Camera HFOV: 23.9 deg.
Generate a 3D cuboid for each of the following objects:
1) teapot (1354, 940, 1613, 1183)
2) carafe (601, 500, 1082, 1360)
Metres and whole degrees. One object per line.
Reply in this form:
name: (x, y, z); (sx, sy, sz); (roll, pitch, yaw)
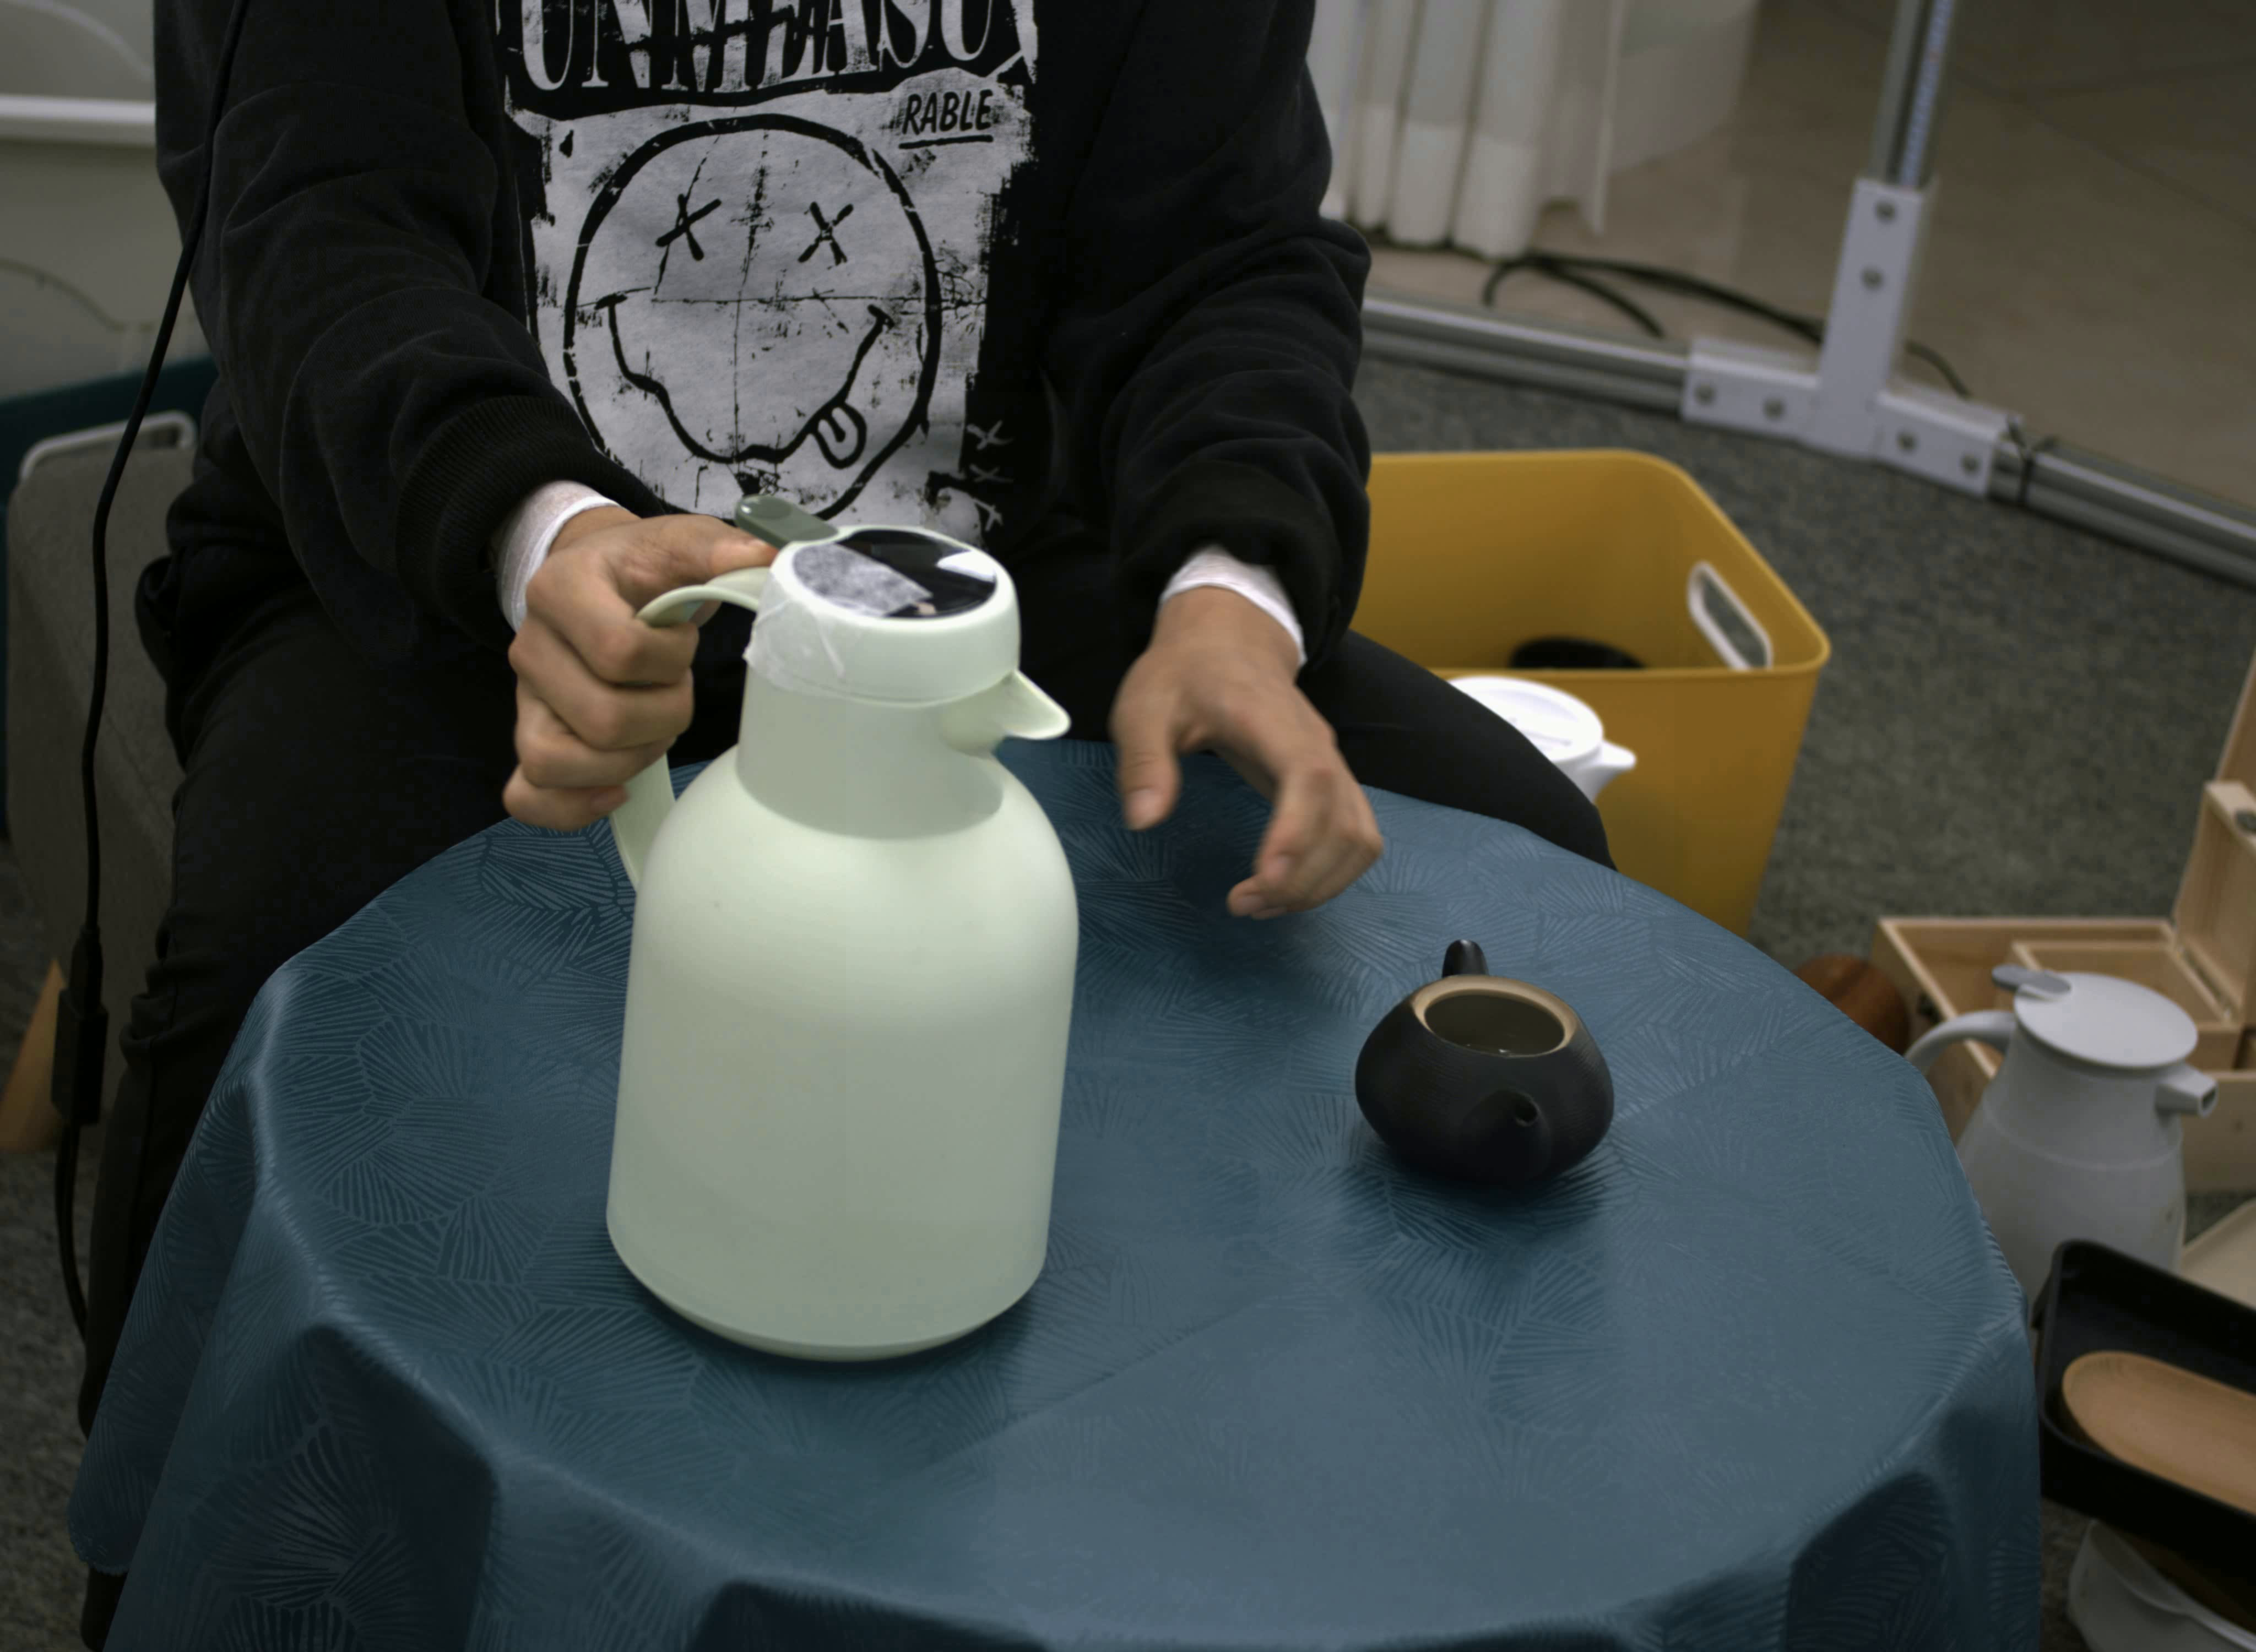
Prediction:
teapot: (0.124, 0.088, 1.845); (0.090, 0.053, 0.134); (4, 27, -9)
carafe: (-0.096, 0.027, 1.700); (0.188, 0.256, 0.143); (23, 33, 37)
